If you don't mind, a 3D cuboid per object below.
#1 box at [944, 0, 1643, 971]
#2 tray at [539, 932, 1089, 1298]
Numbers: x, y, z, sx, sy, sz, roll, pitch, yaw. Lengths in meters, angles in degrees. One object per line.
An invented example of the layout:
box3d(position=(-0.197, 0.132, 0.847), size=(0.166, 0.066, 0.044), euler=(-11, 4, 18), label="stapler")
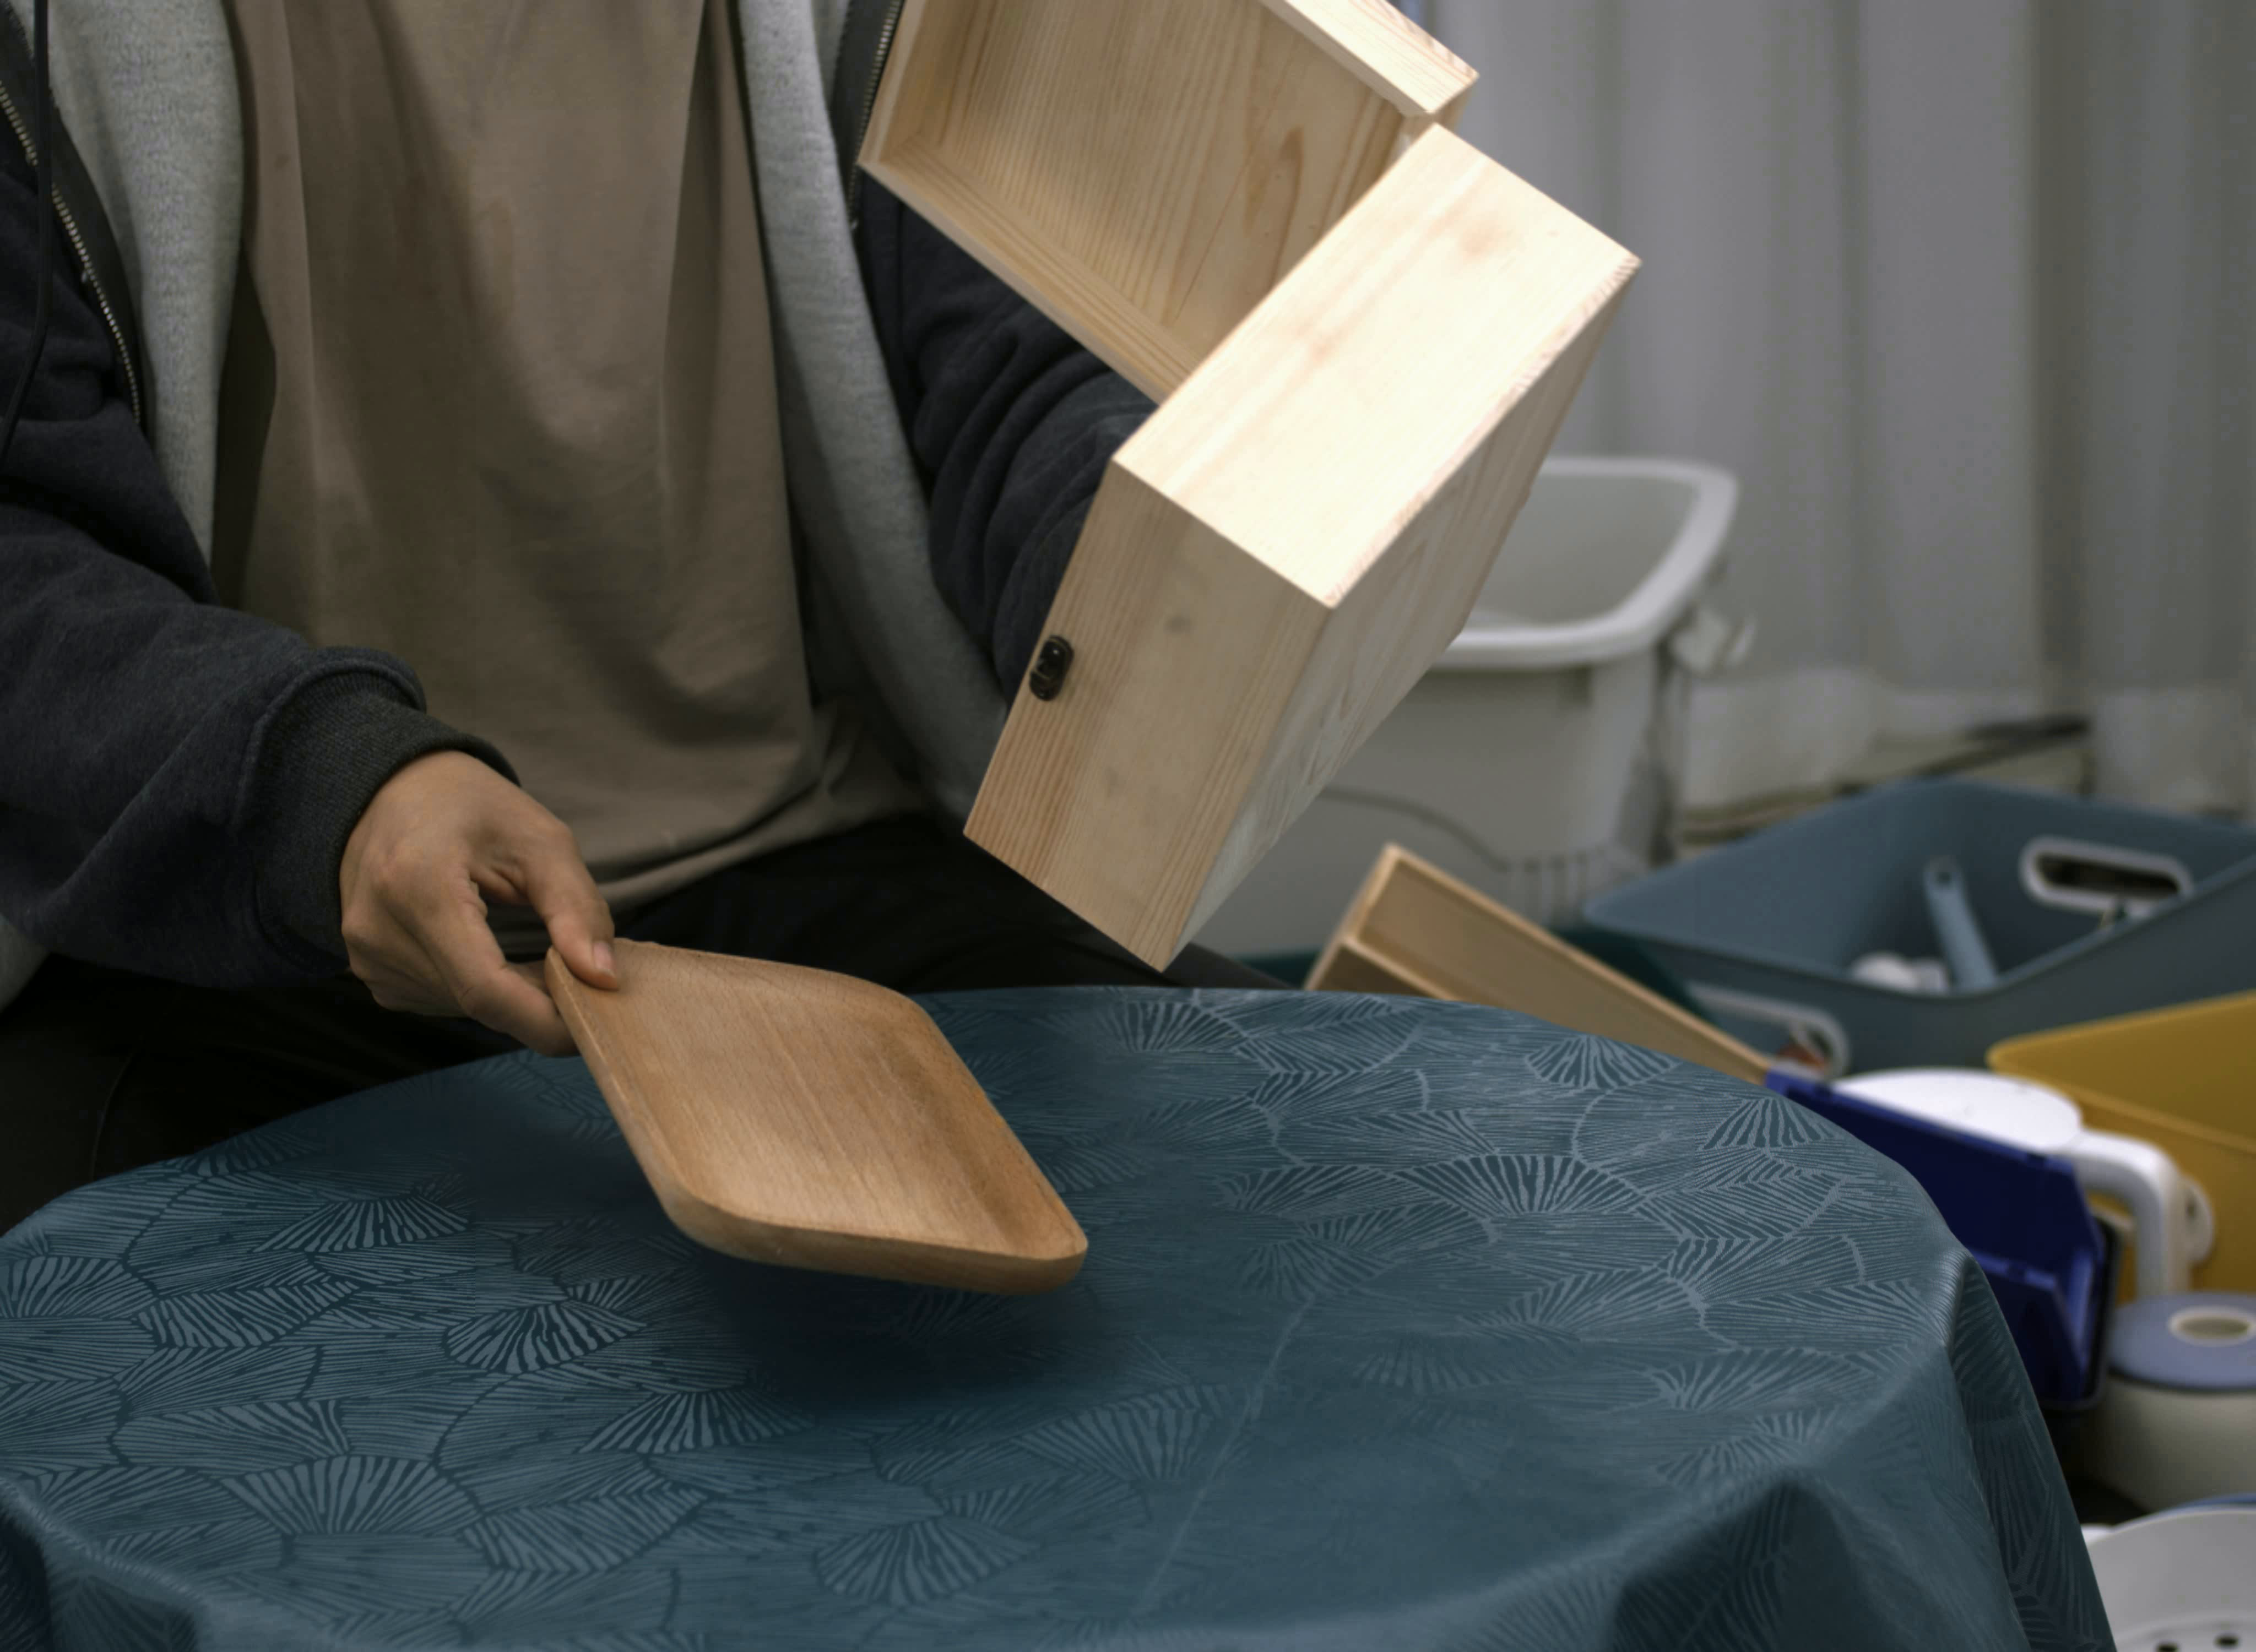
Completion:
box3d(position=(0.002, -0.150, 1.656), size=(0.254, 0.180, 0.267), euler=(34, 50, 12), label="box")
box3d(position=(-0.099, 0.085, 1.644), size=(0.129, 0.023, 0.253), euler=(12, 13, -19), label="tray")
